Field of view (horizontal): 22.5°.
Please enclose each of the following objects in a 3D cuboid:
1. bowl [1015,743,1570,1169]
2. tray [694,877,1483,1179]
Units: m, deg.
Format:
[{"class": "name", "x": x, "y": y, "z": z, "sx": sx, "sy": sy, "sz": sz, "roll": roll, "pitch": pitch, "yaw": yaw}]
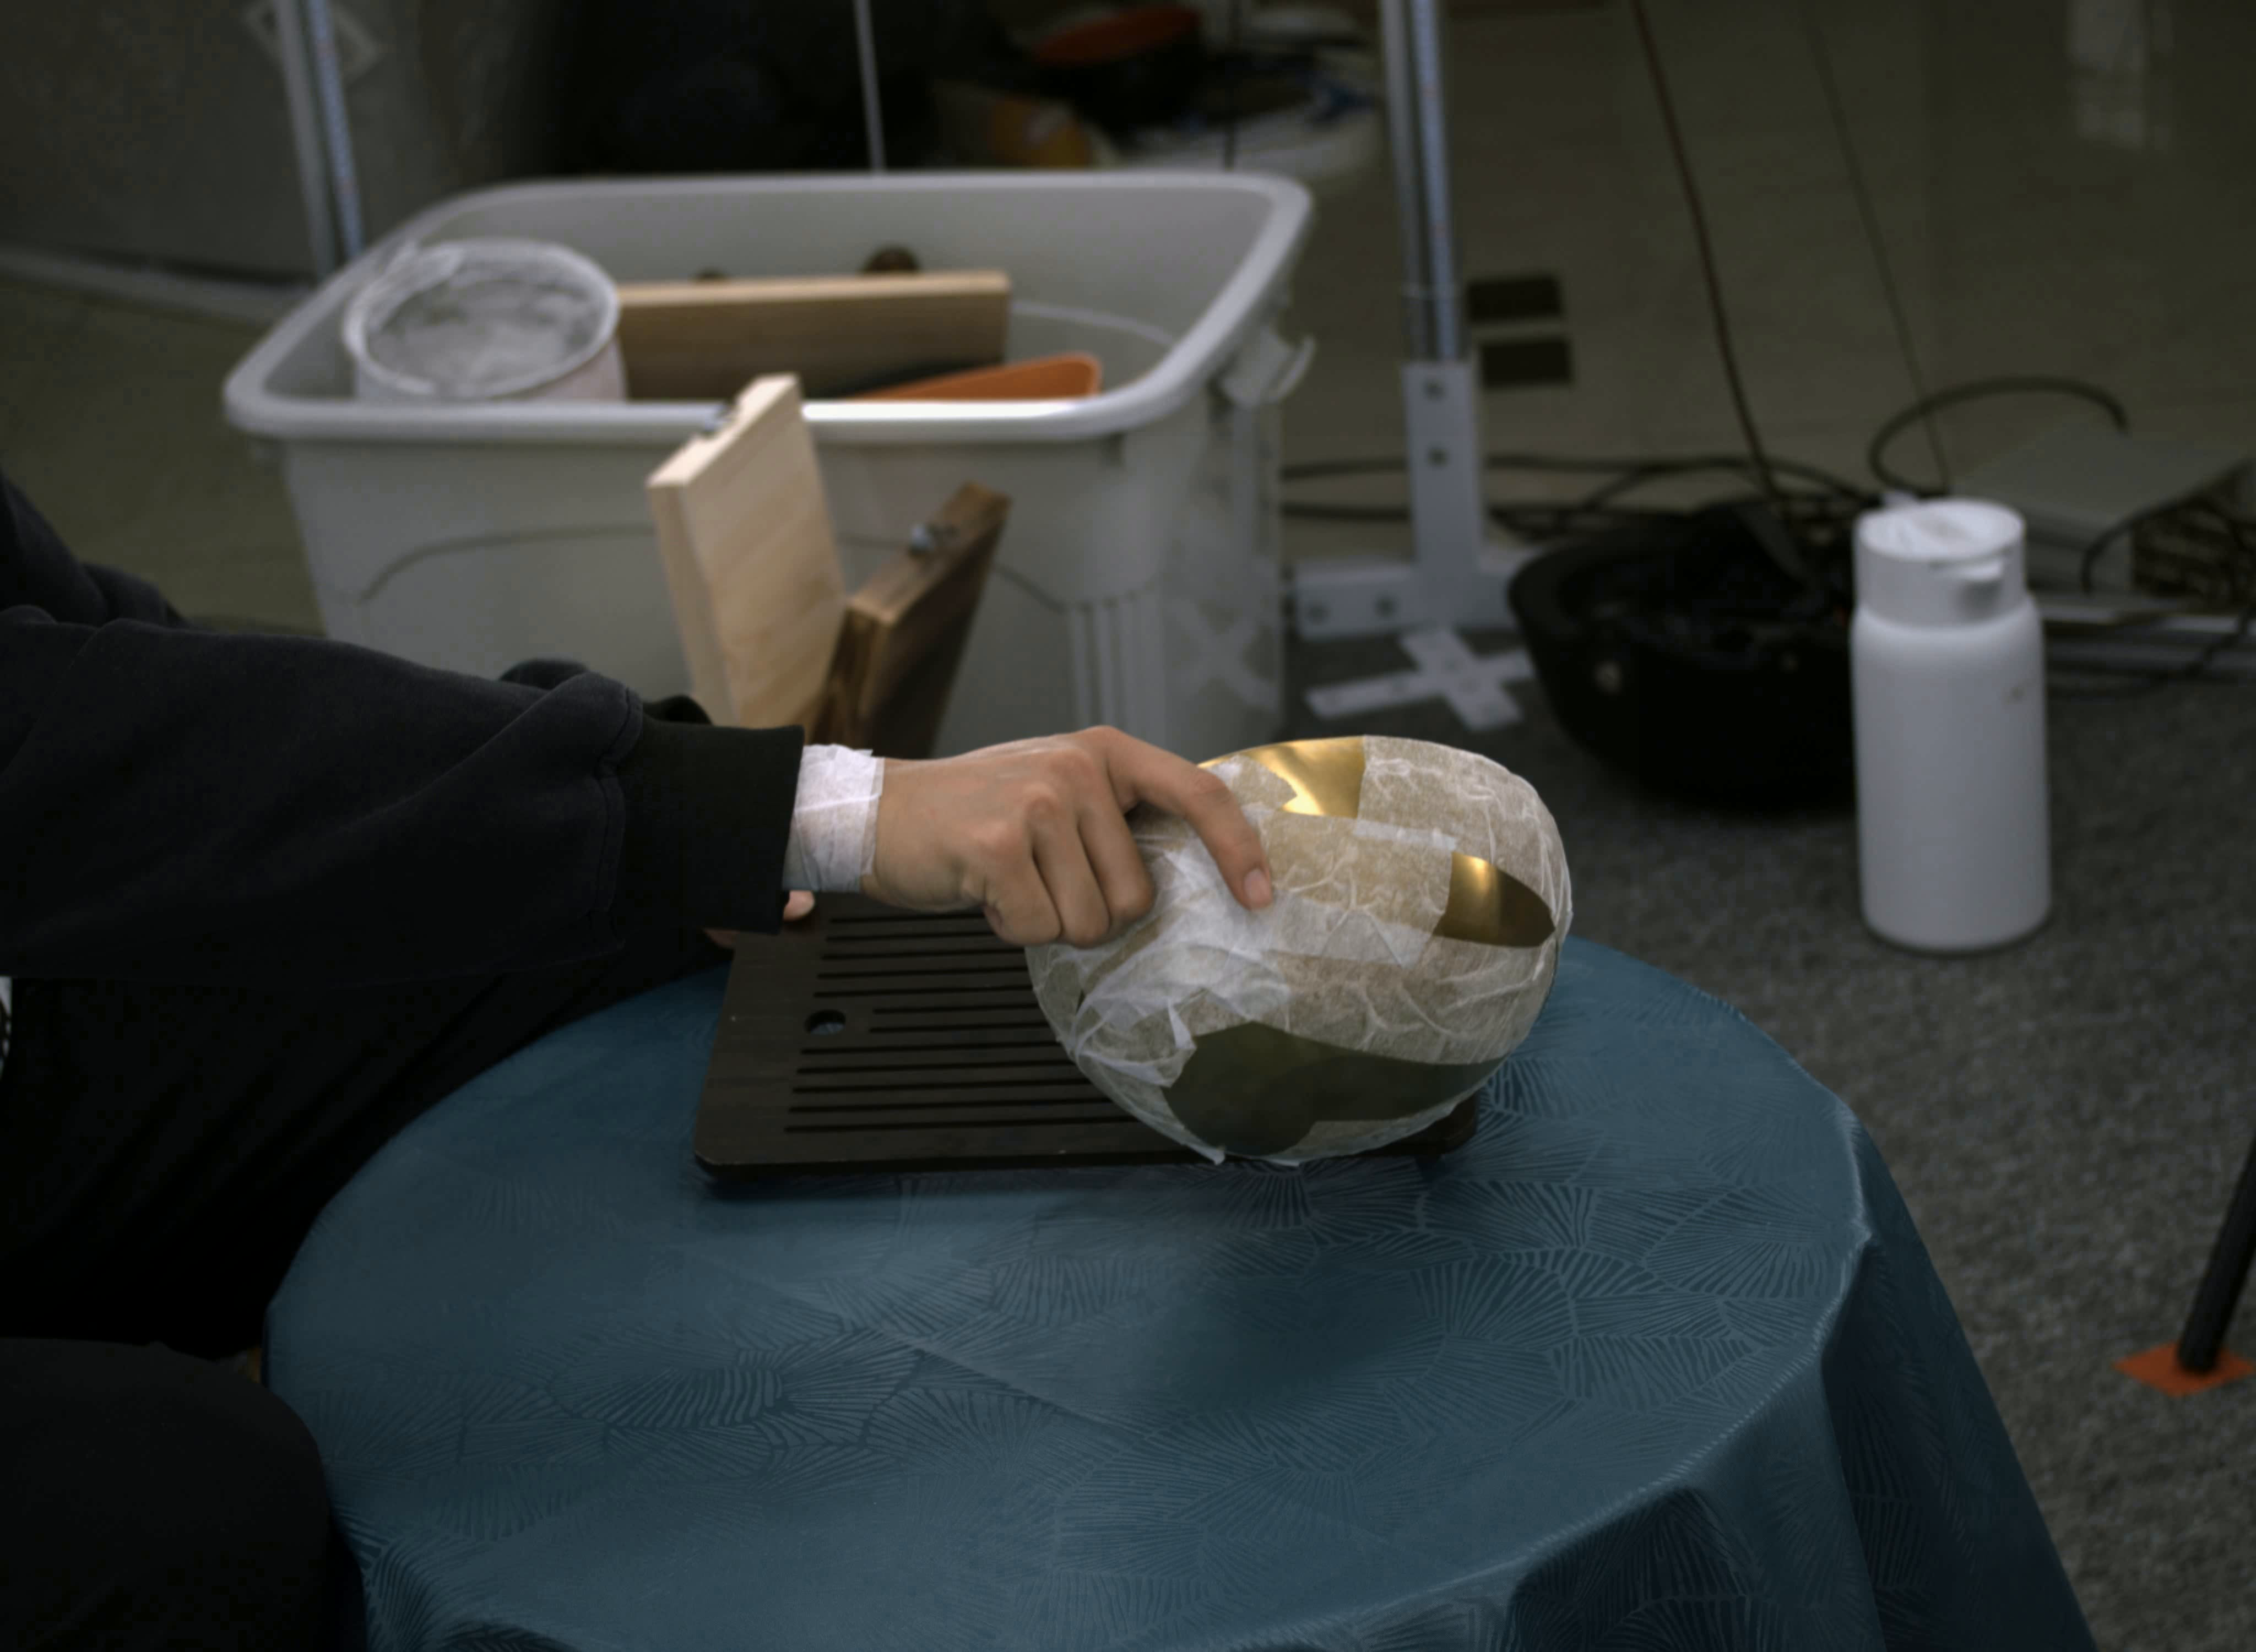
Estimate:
[{"class": "bowl", "x": 0.064, "y": 0.066, "z": 2.060, "sx": 0.214, "sy": 0.218, "sz": 0.093, "roll": -8, "pitch": 58, "yaw": -5}, {"class": "tray", "x": -0.010, "y": 0.077, "z": 2.225, "sx": 0.305, "sy": 0.019, "sz": 0.167, "roll": -2, "pitch": 39, "yaw": 9}]
